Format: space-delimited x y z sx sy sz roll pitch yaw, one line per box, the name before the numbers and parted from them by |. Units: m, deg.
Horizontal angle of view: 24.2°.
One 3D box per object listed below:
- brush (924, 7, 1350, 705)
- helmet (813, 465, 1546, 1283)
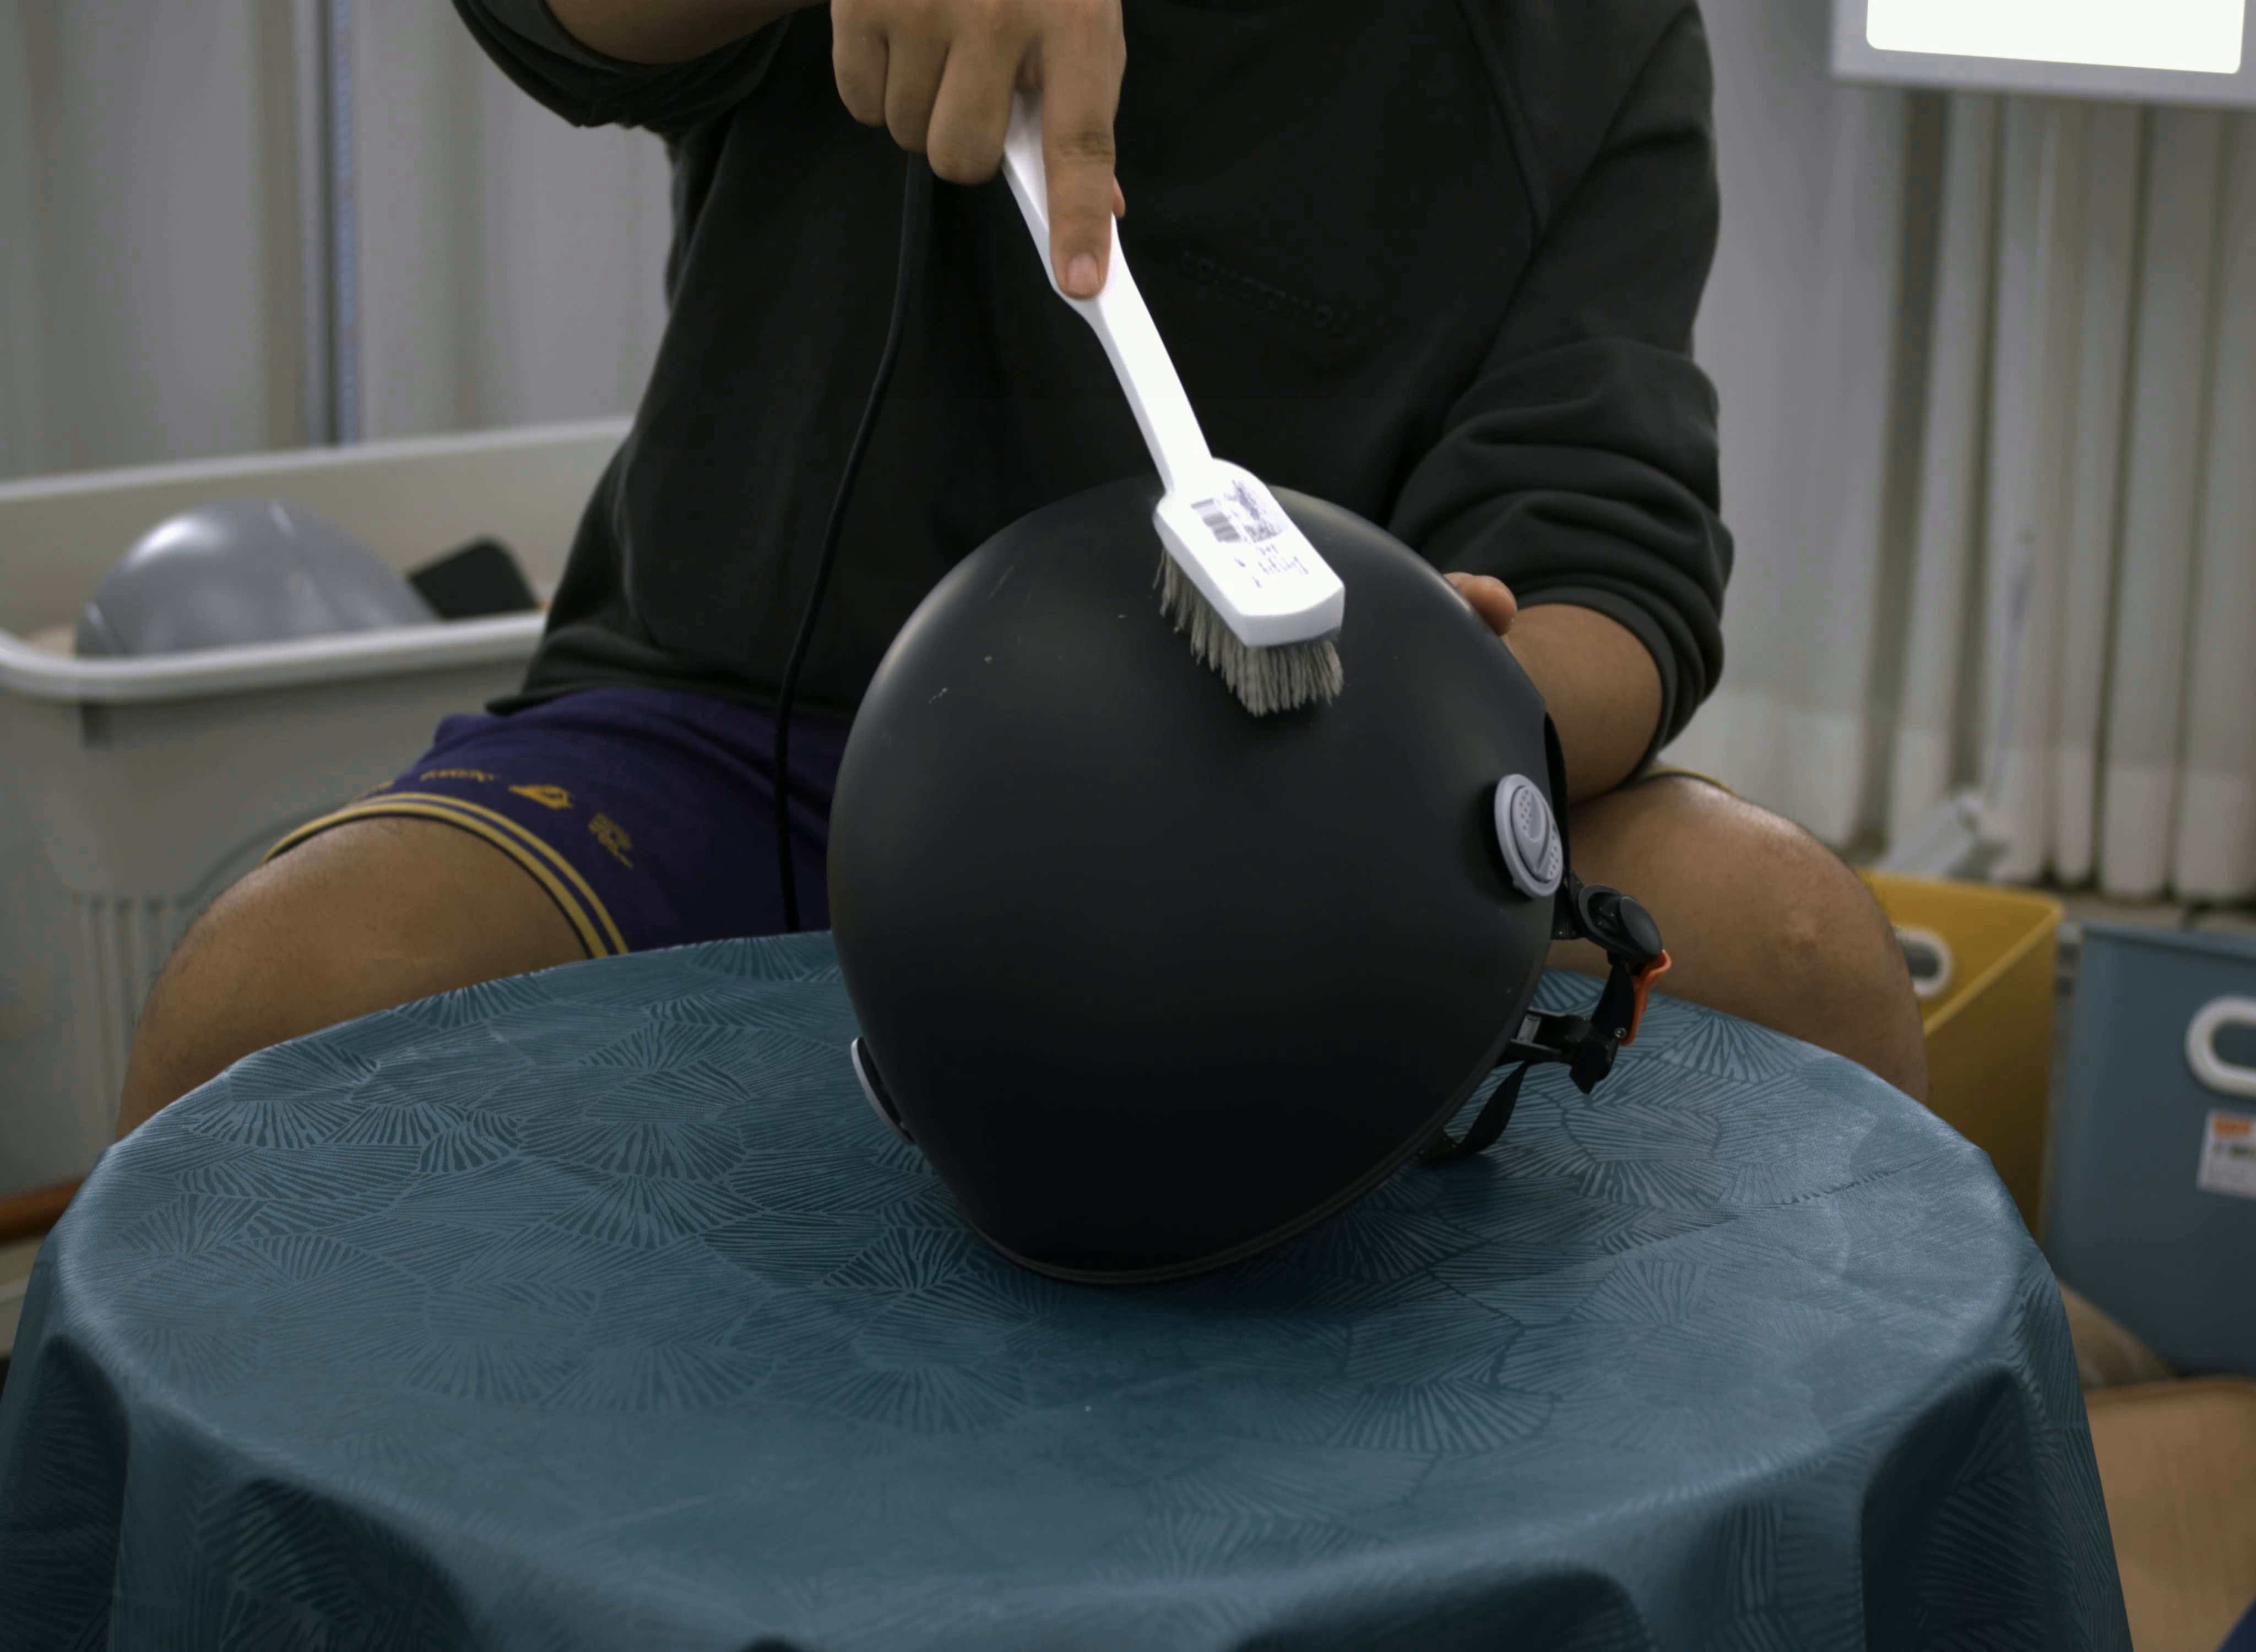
brush | -0.002 -0.136 1.525 0.034 0.050 0.241 -20 64 -21
helmet | 0.004 -0.007 1.581 0.229 0.169 0.271 -22 31 21
